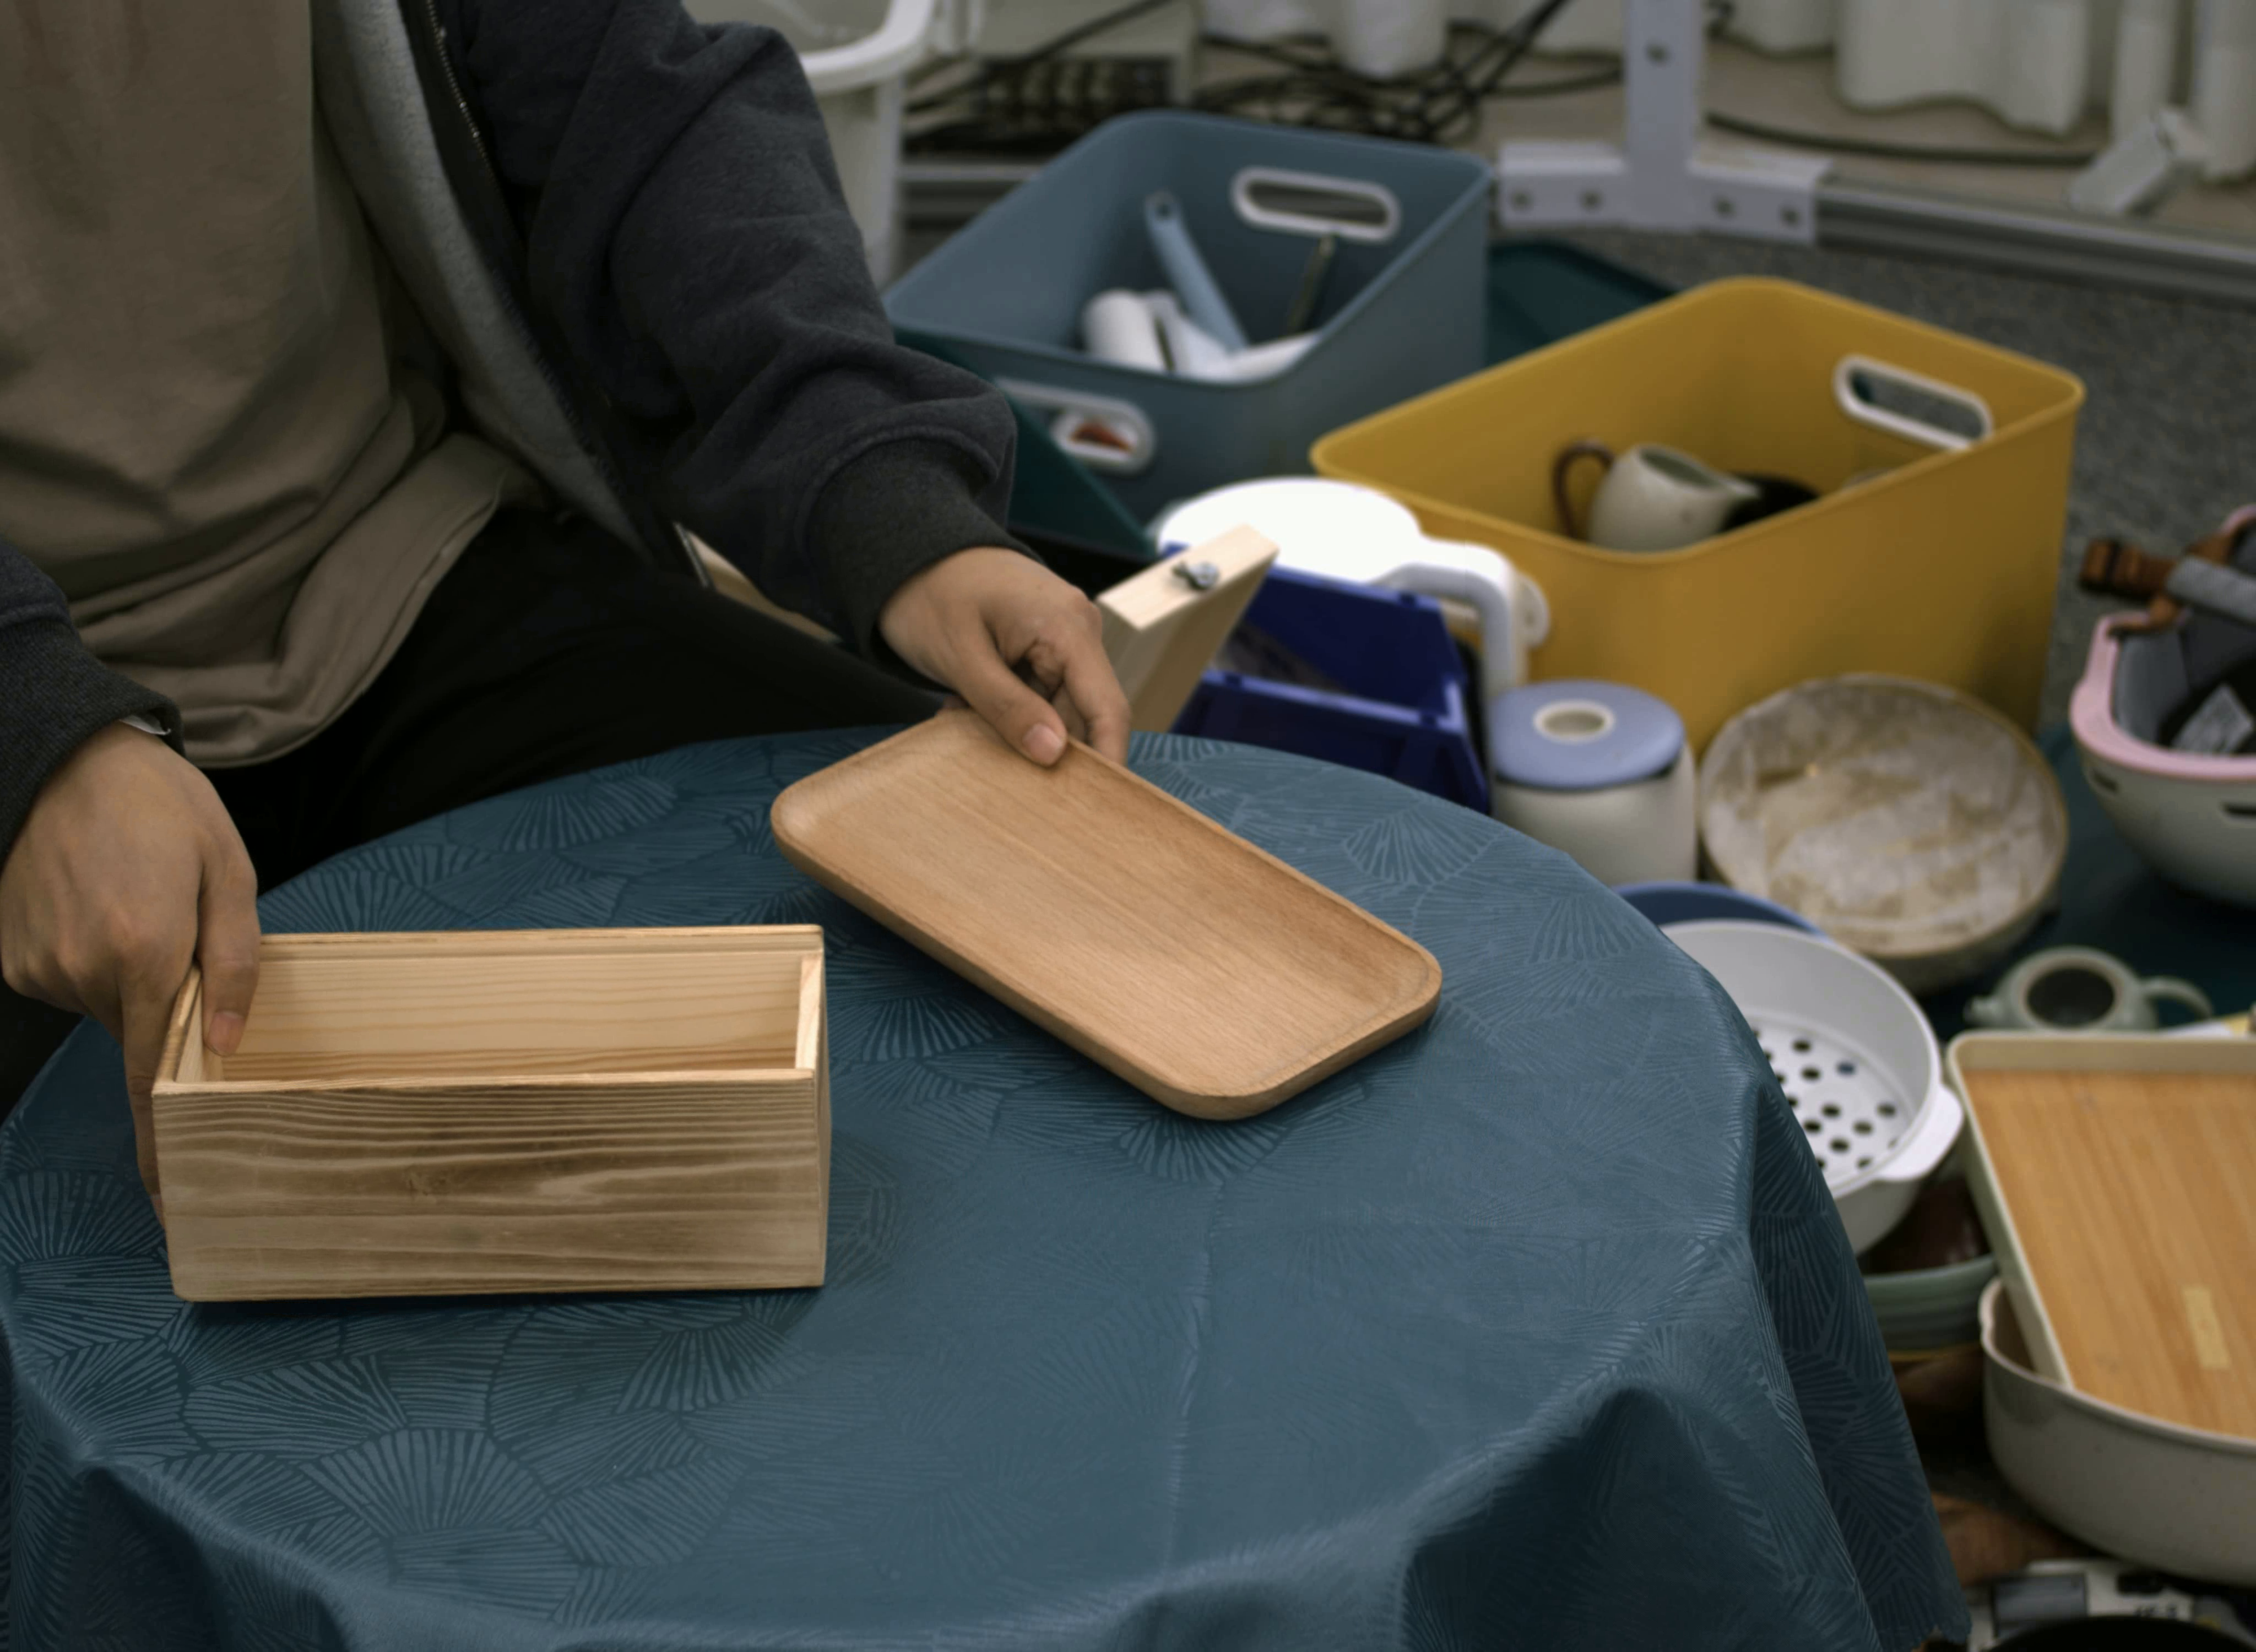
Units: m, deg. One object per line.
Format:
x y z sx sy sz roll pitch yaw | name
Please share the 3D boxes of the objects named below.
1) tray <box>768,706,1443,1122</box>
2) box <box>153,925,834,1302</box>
-0.010 0.029 1.993 0.132 0.022 0.251 -23 39 -38 | tray
-0.204 0.094 1.842 0.210 0.079 0.109 -1 26 -1 | box
